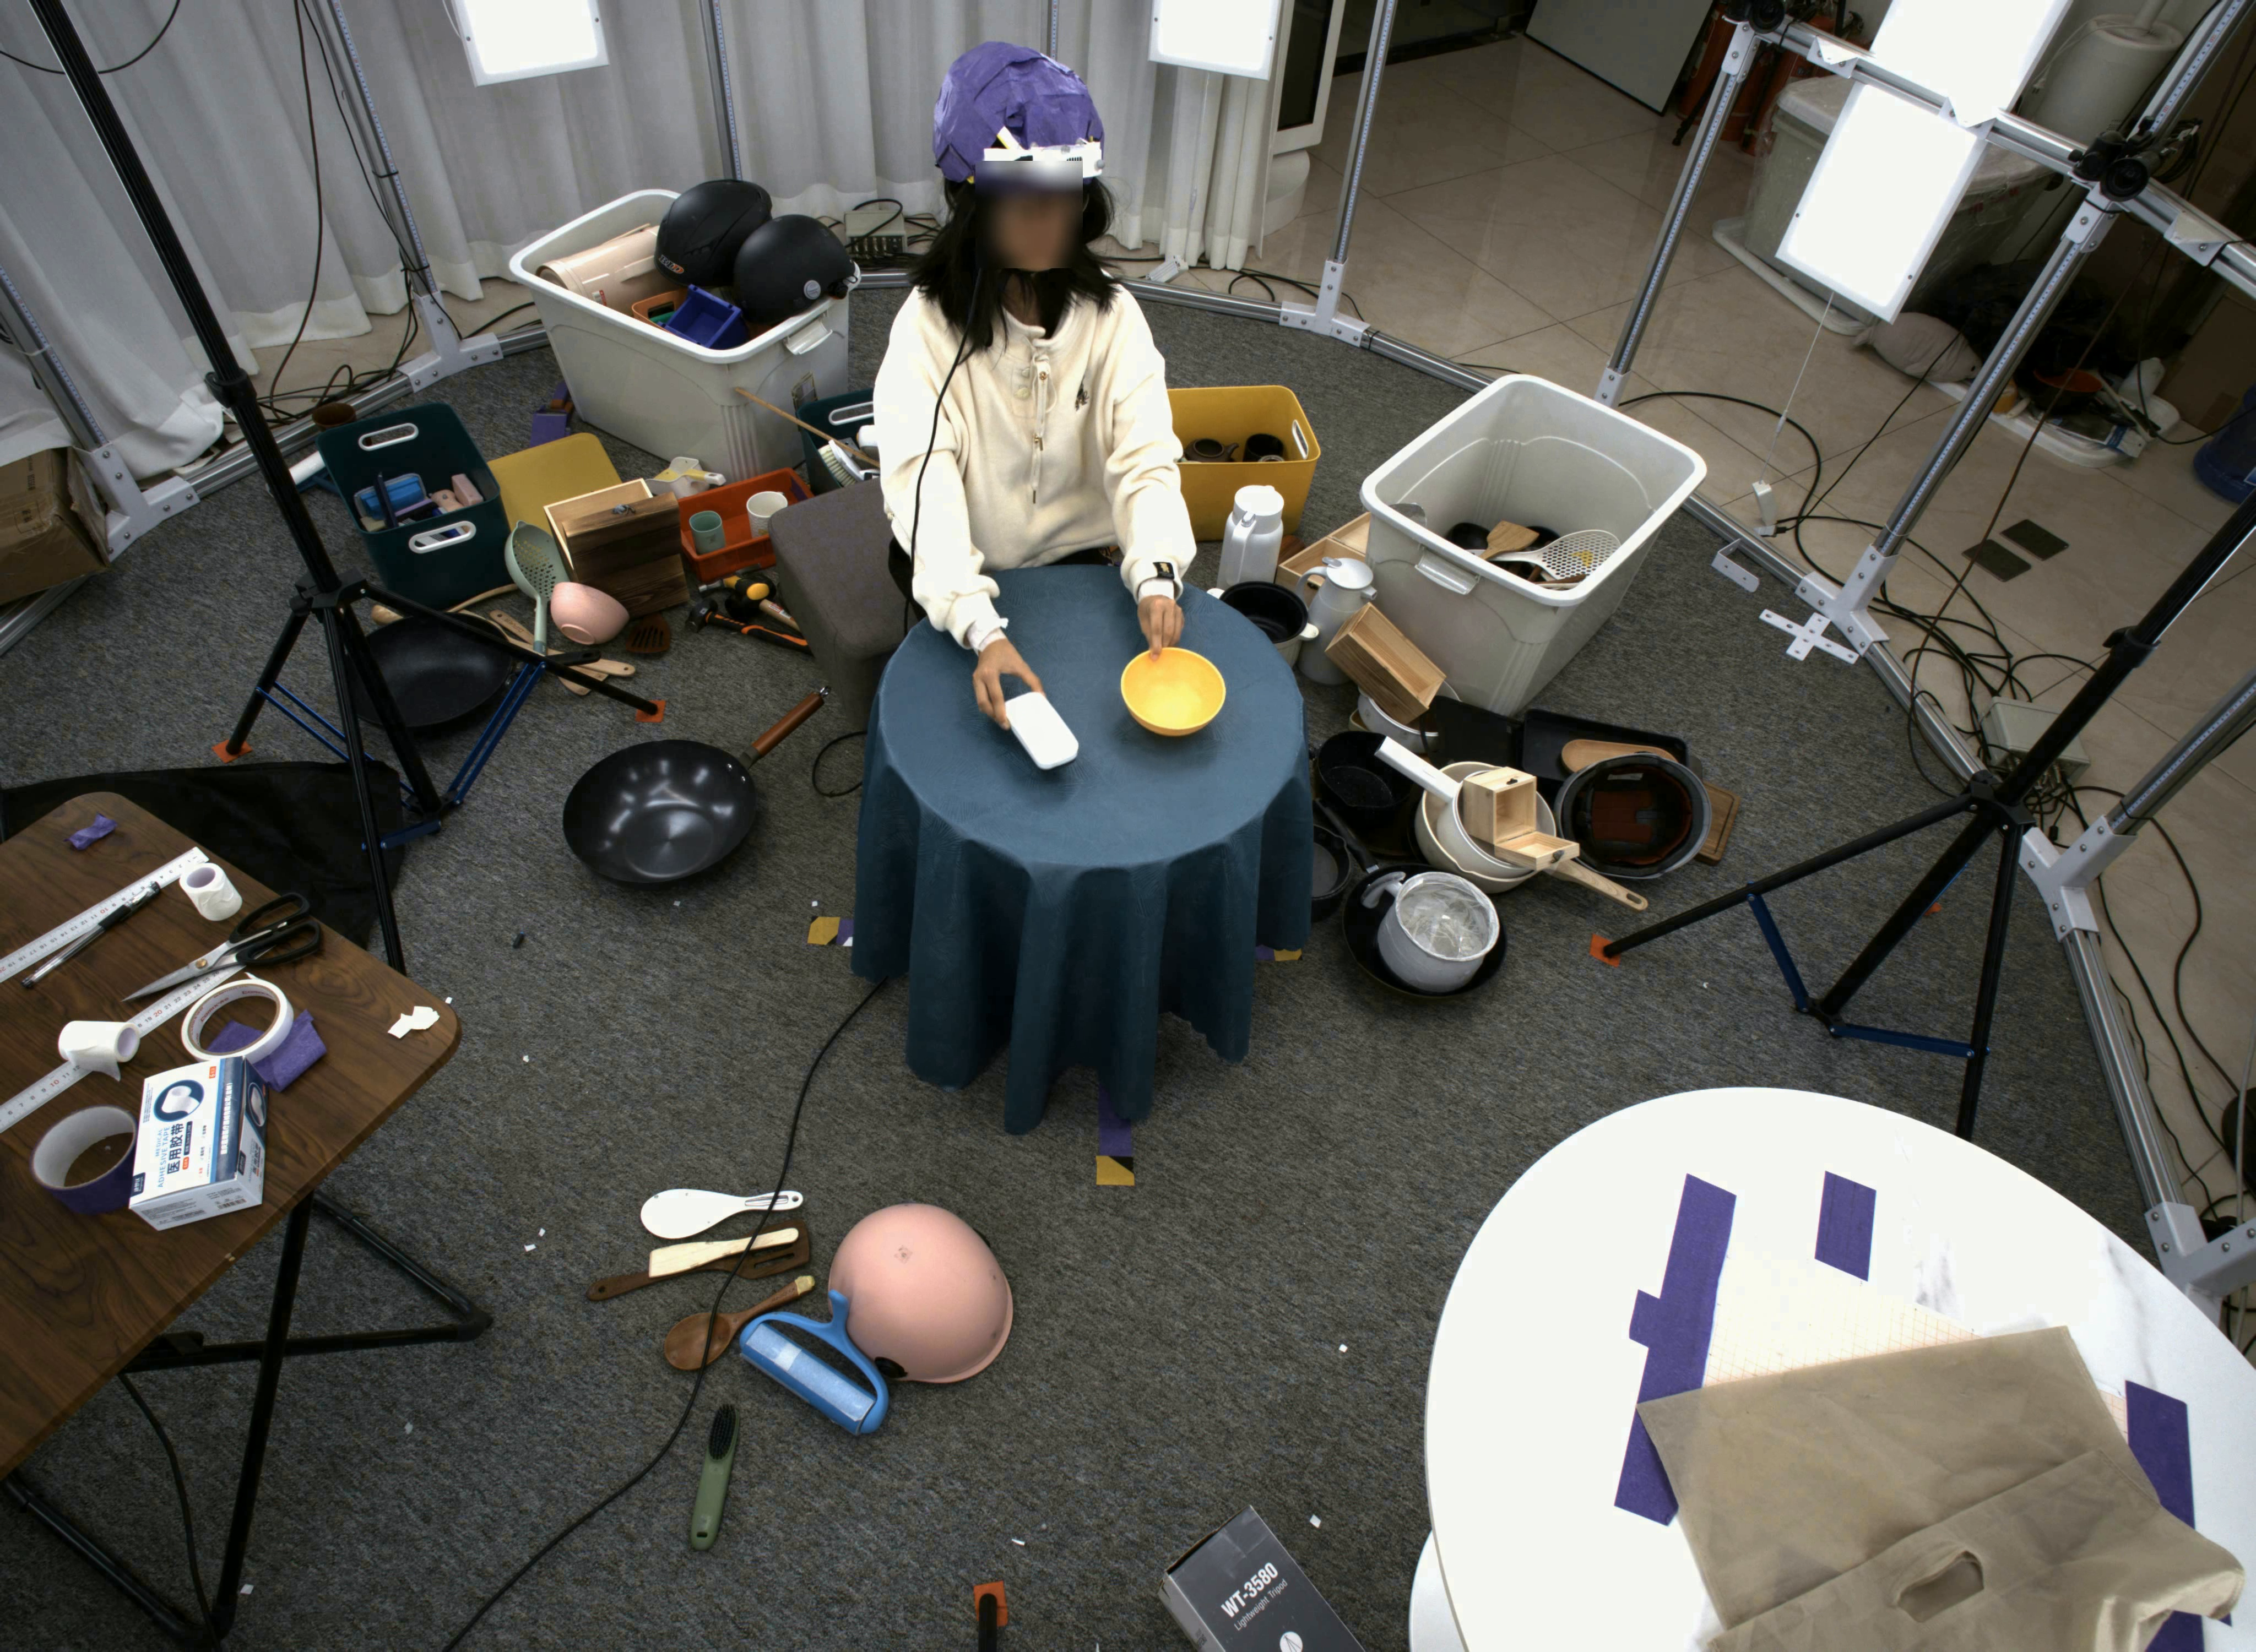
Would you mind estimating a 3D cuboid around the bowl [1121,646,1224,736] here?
[{"bbox_3d":[0.059,-0.177,1.785,0.145,0.059,0.149,3,57,-5],"label":"bowl"}]

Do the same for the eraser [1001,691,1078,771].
[{"bbox_3d":[-0.118,-0.131,1.718,0.063,0.034,0.134,-22,53,-20],"label":"eraser"}]
